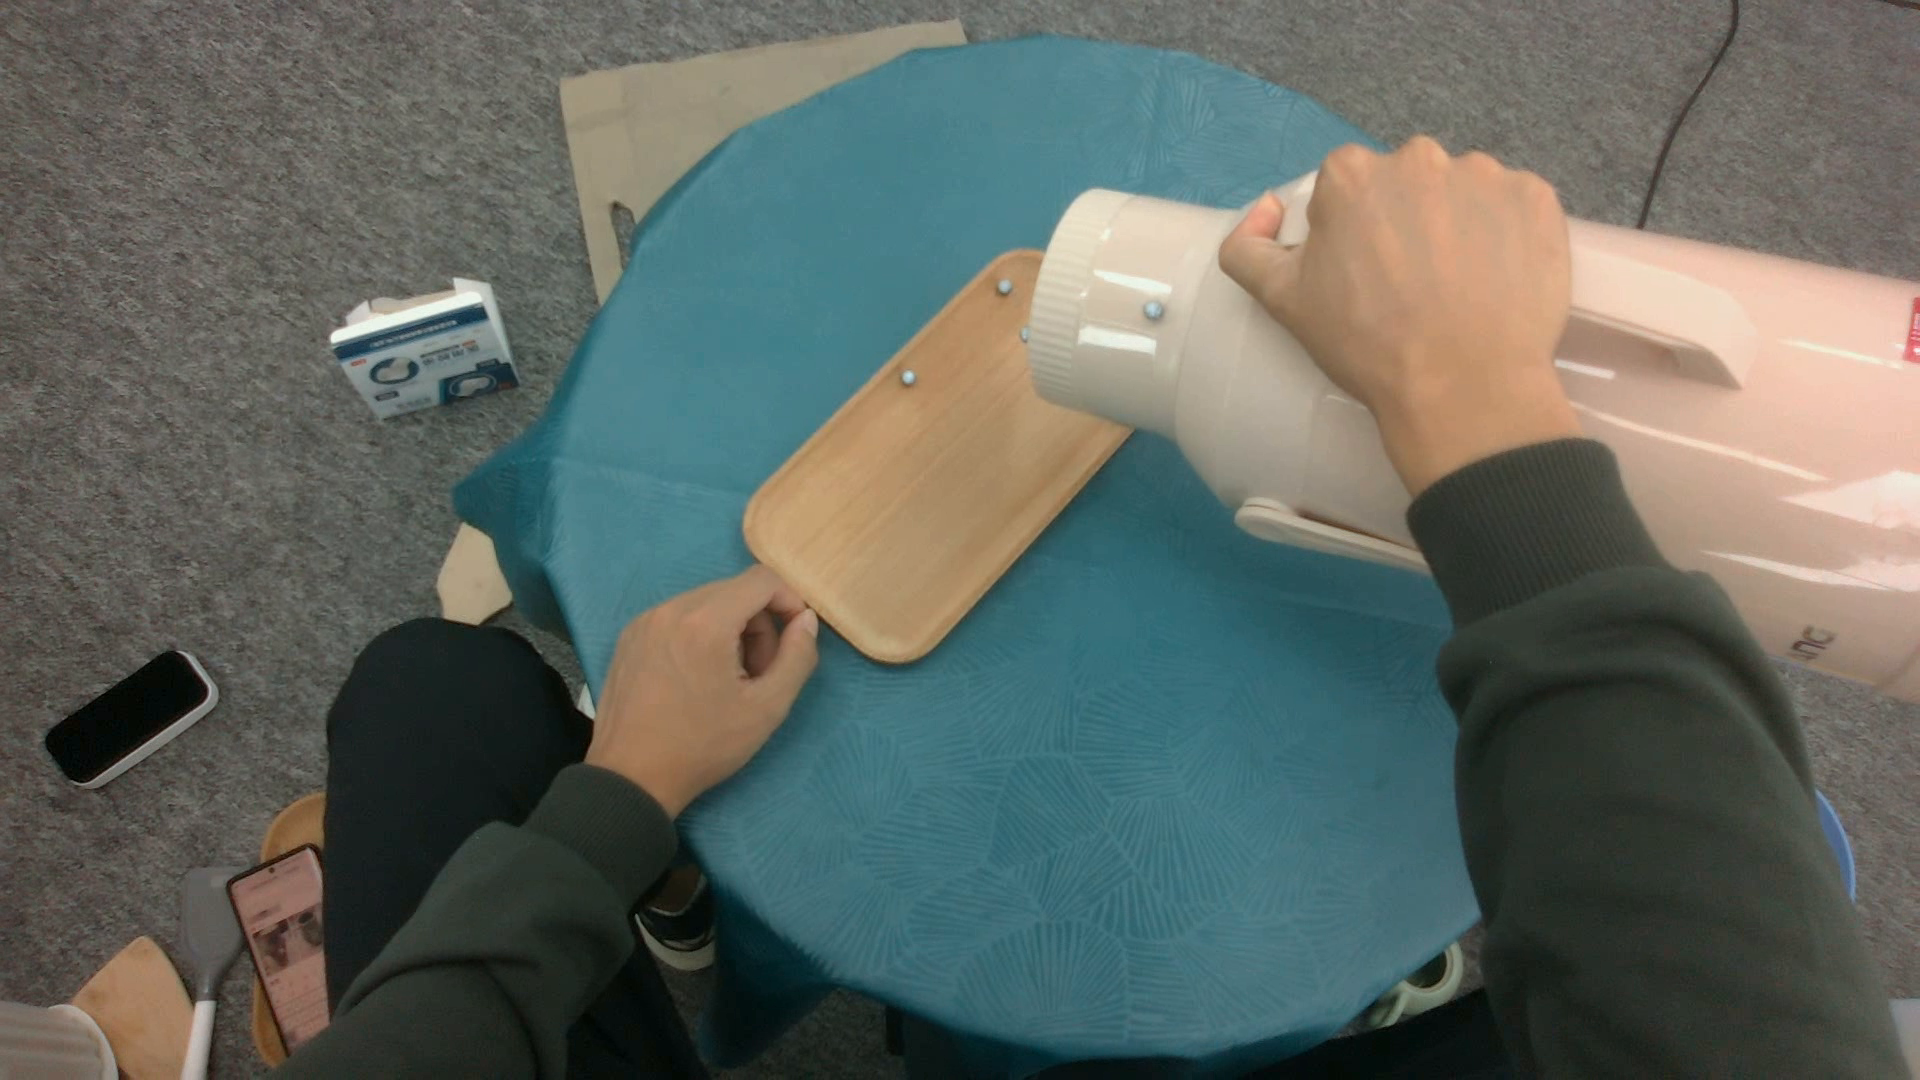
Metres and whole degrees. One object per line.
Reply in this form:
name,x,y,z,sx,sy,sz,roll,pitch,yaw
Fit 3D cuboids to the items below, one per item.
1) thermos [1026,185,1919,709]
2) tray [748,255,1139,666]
thermos,0.229,-0.064,0.598,0.406,0.207,0.175,18,77,21
tray,0.003,-0.049,0.772,0.130,0.023,0.251,40,72,11
